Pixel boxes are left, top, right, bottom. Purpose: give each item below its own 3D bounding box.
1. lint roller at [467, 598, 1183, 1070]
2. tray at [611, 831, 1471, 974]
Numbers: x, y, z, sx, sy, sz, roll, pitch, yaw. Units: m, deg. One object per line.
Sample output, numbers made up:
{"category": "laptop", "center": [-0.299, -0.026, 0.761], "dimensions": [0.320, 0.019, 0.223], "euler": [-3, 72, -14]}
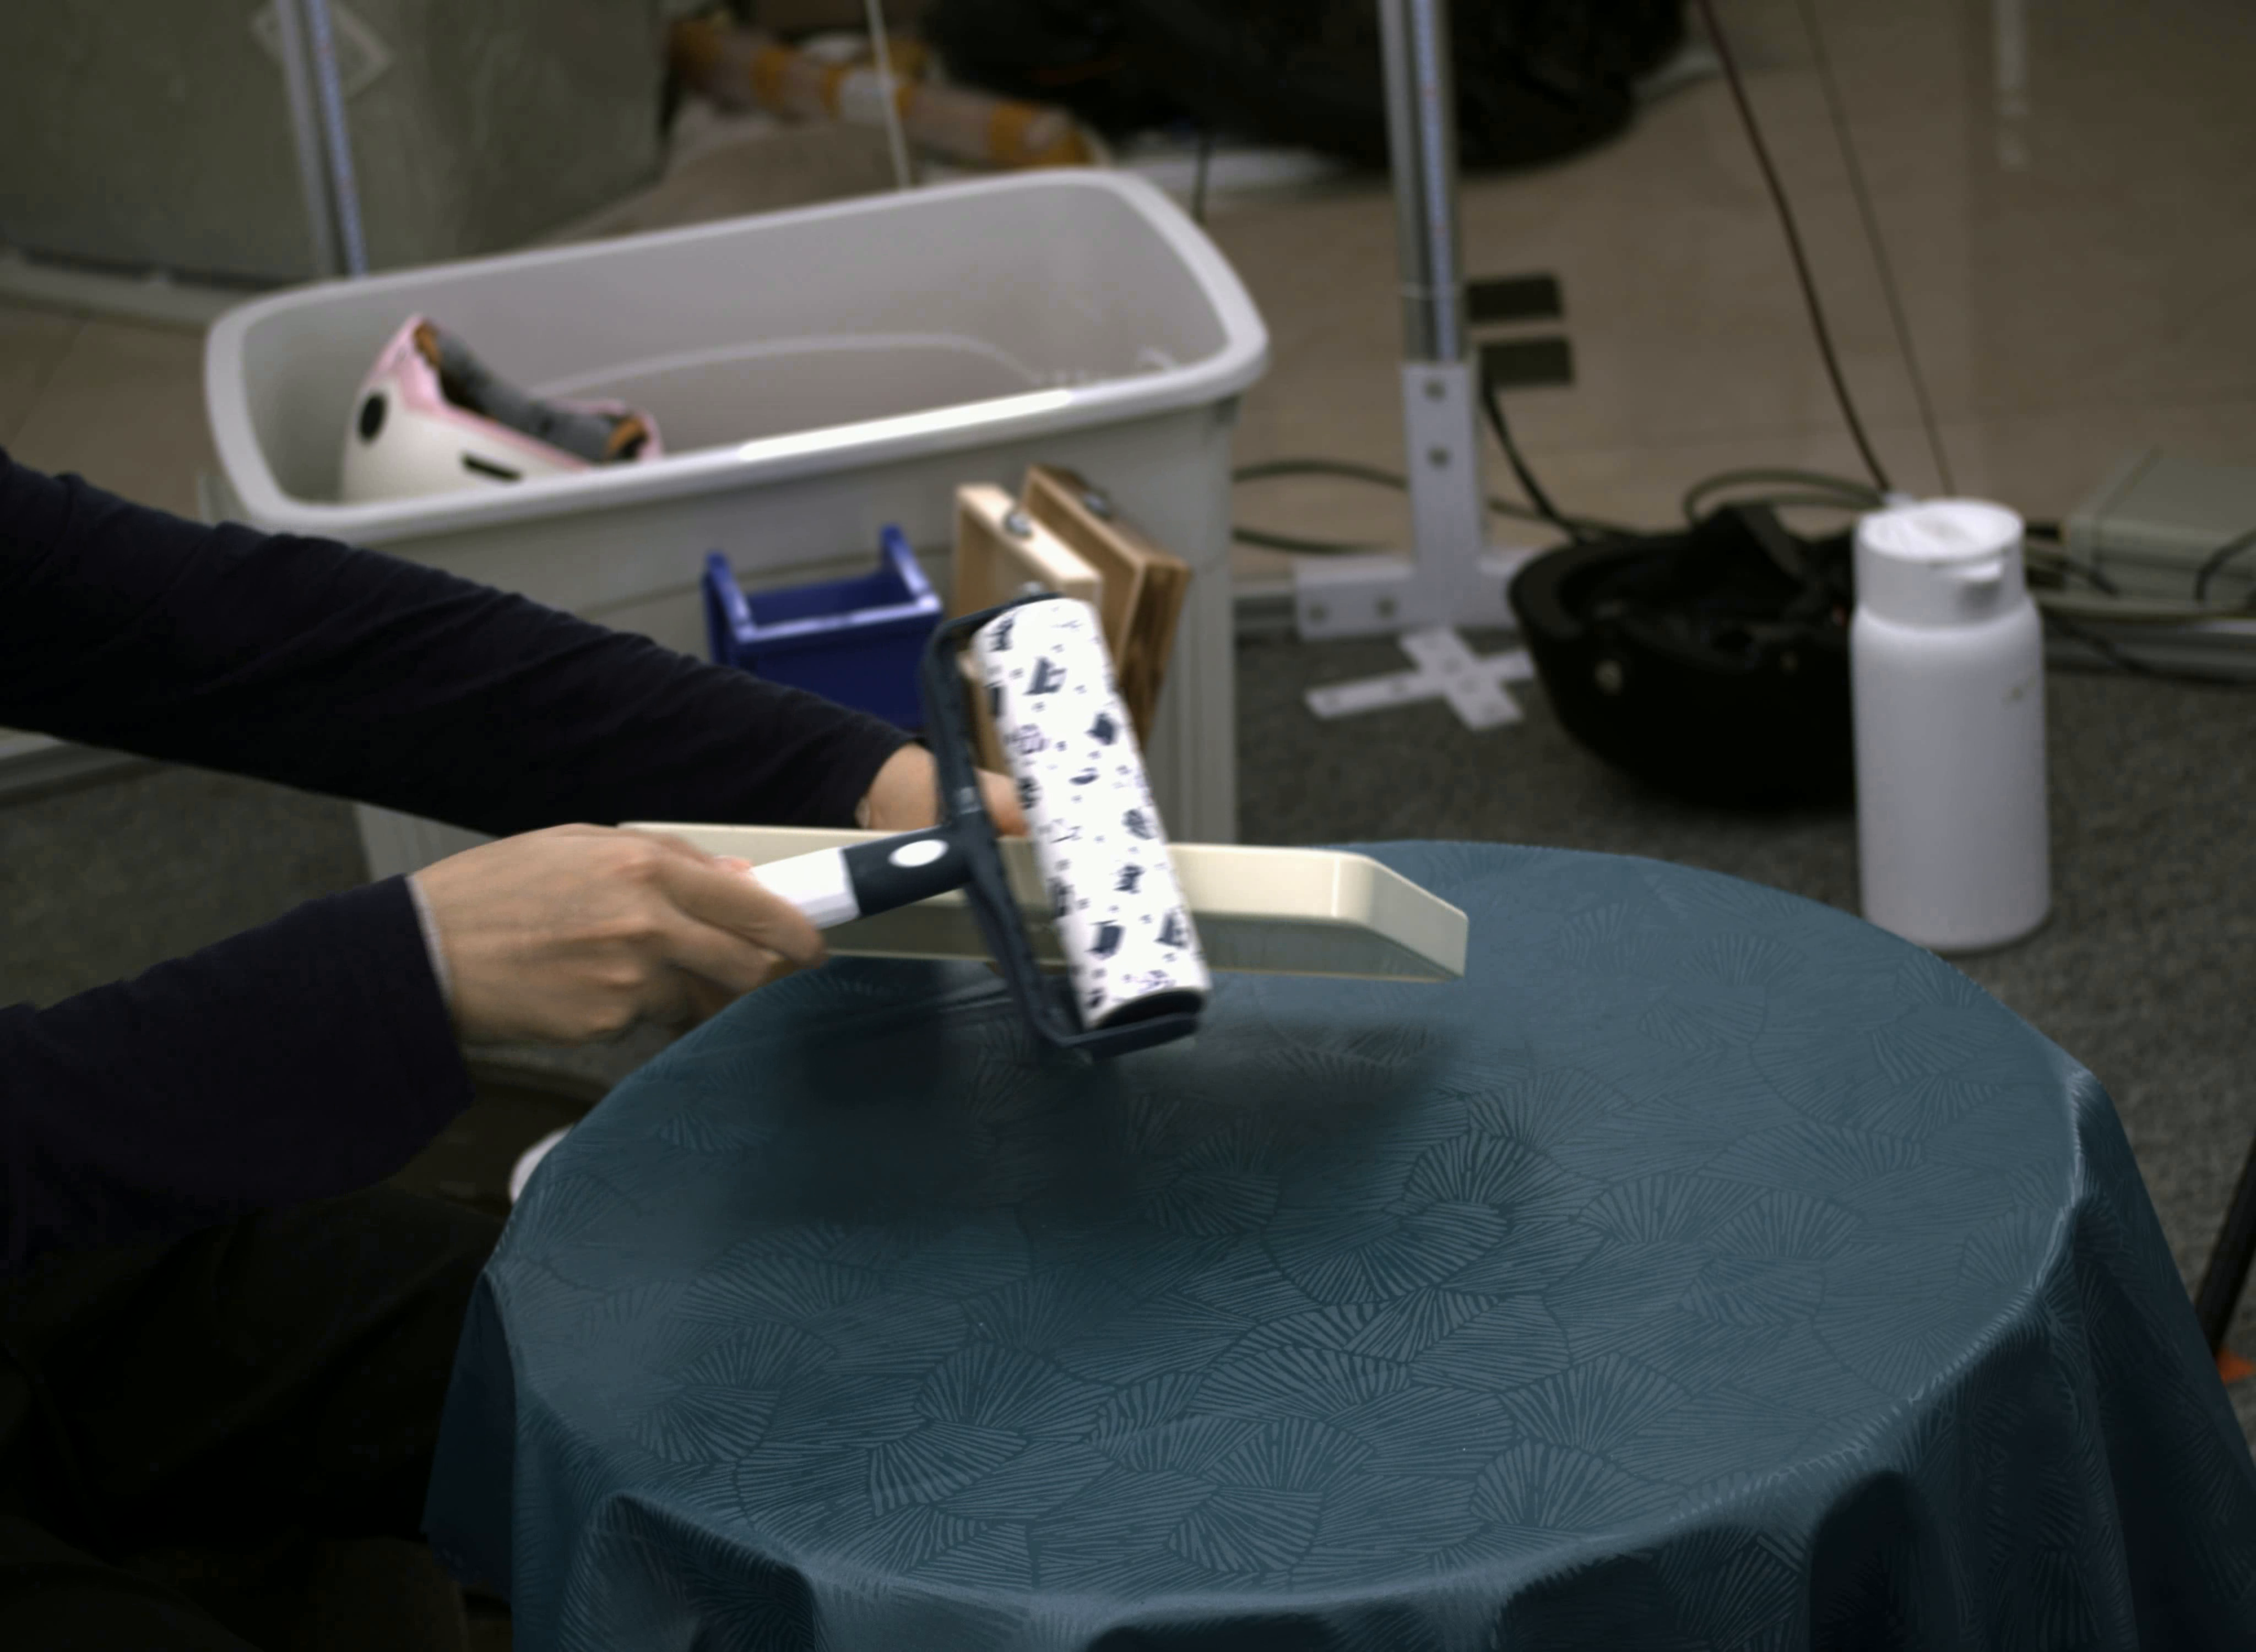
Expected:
{"category": "lint roller", "center": [-0.119, 0.026, 2.052], "dimensions": [0.246, 0.051, 0.174], "euler": [-15, 71, -9]}
{"category": "tray", "center": [-0.031, 0.030, 2.190], "dimensions": [0.299, 0.027, 0.192], "euler": [2, -5, 17]}
